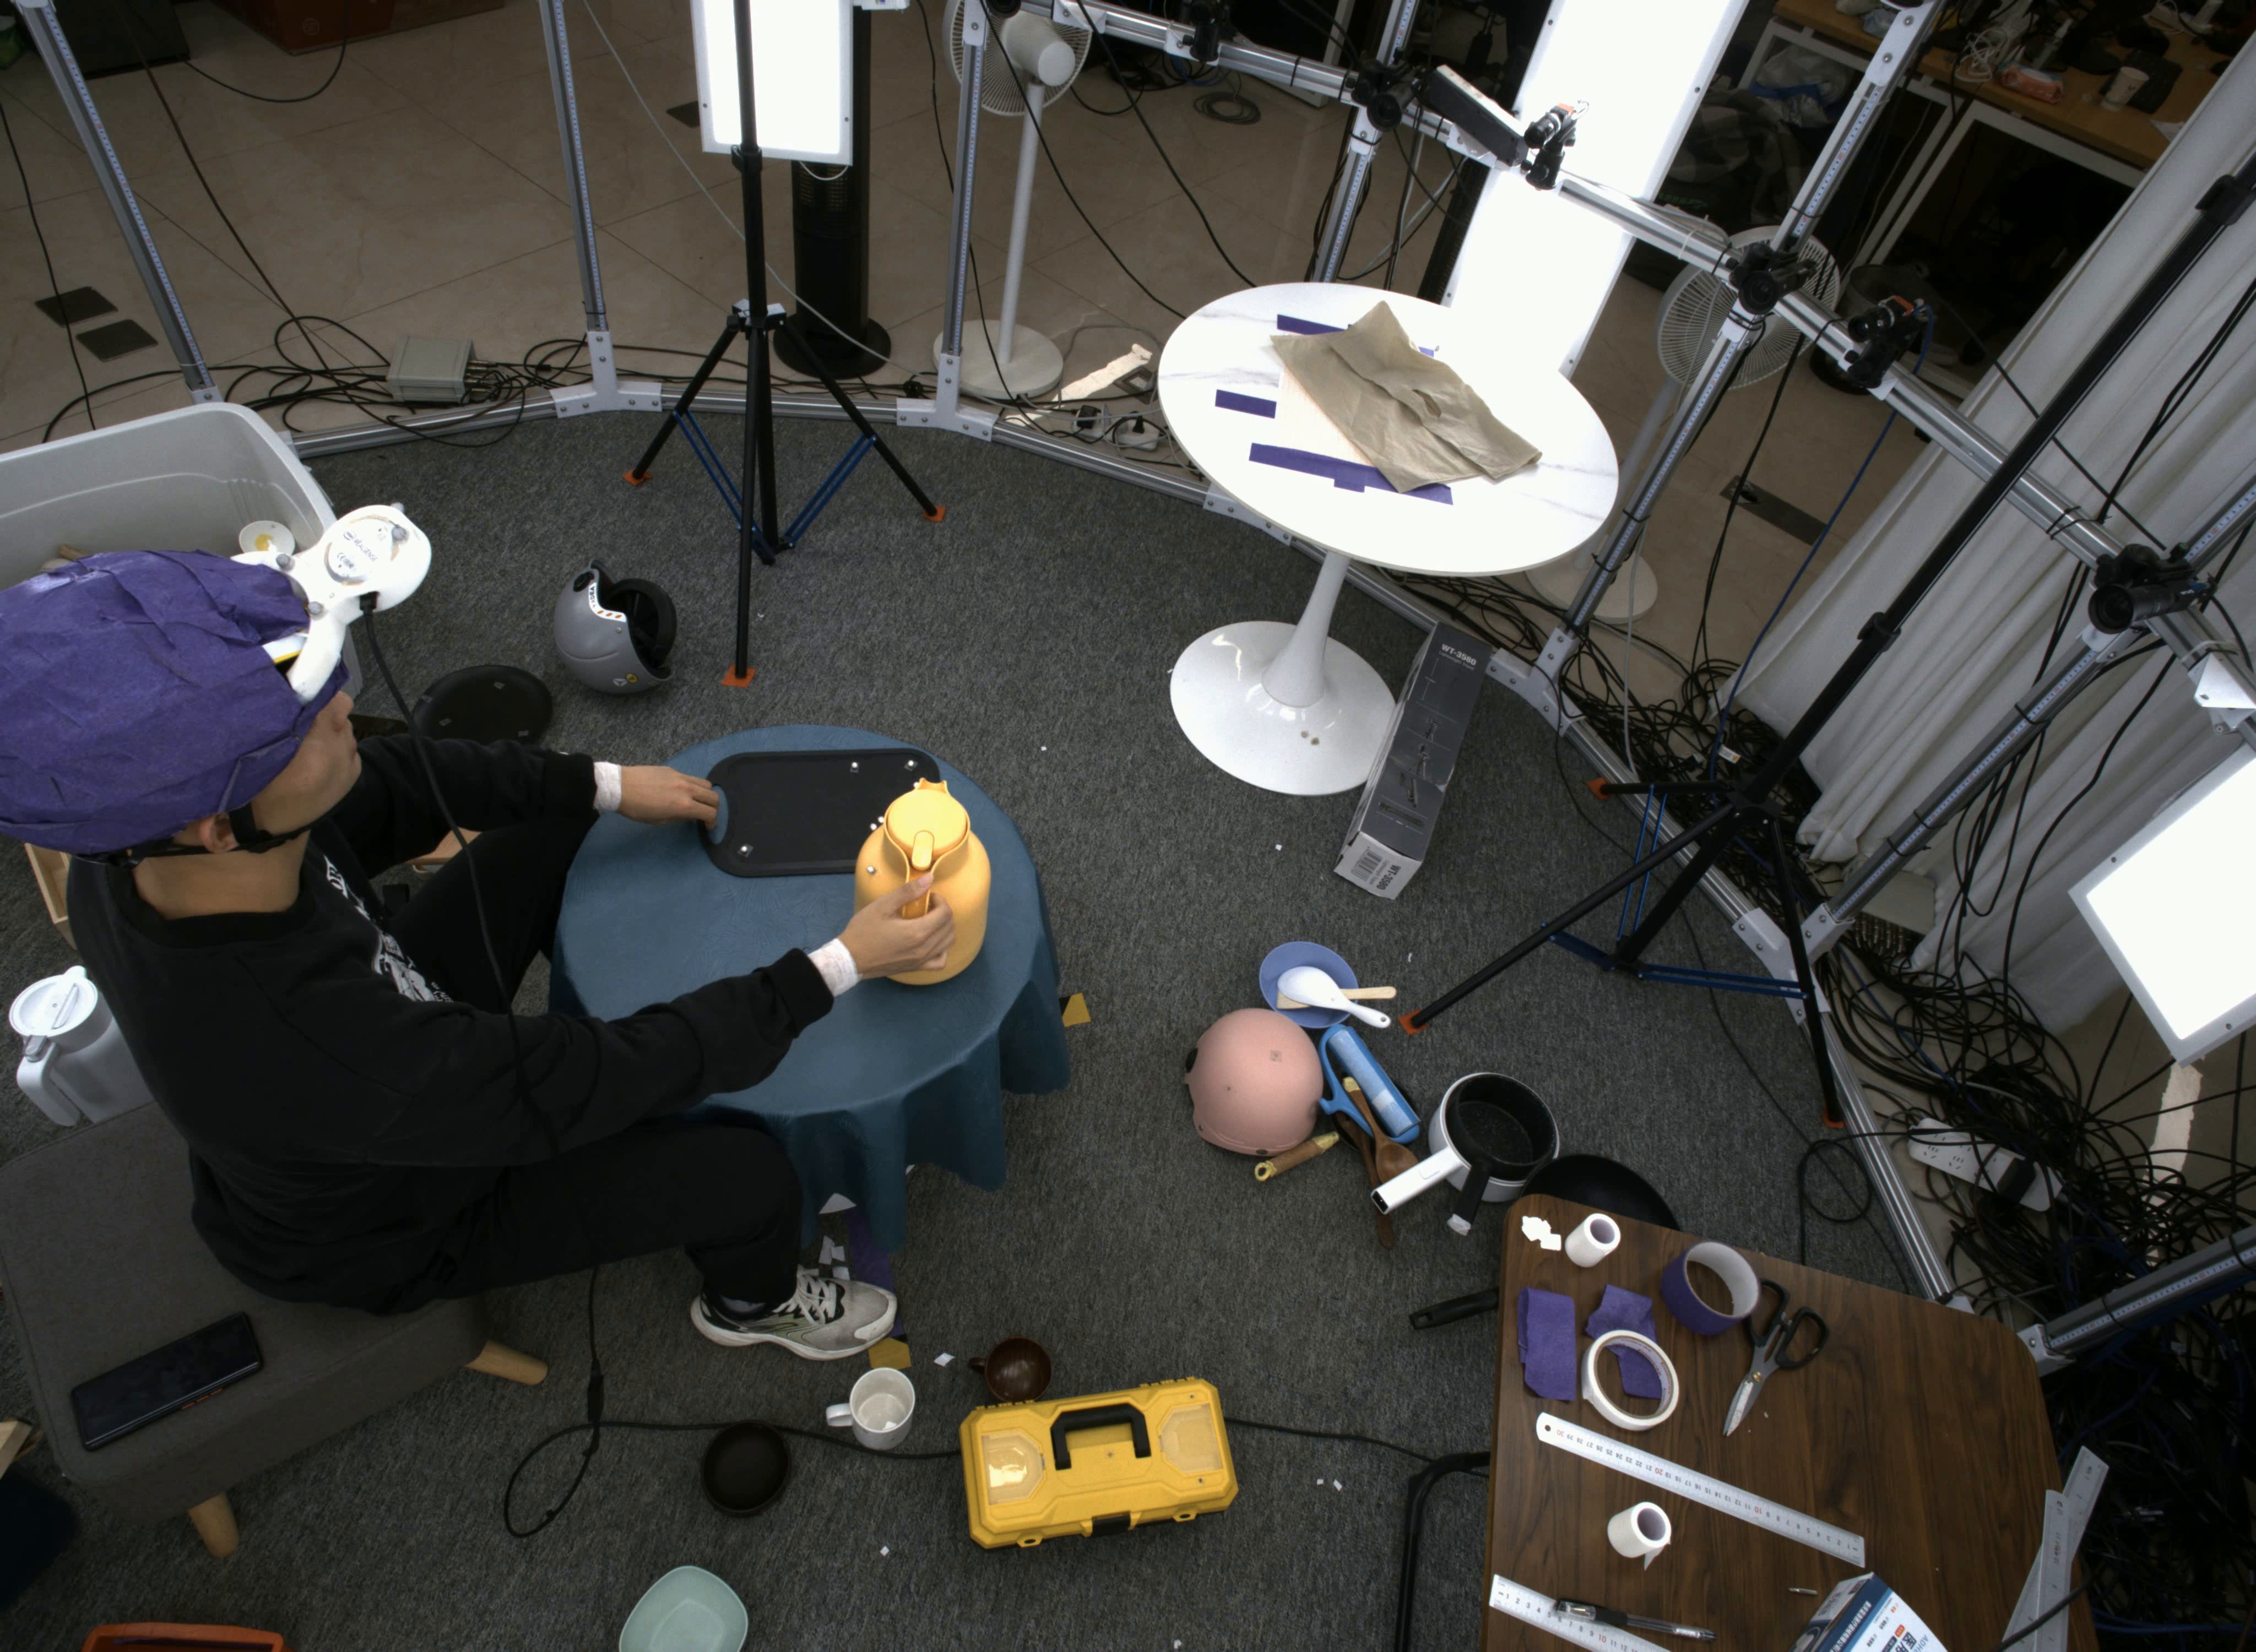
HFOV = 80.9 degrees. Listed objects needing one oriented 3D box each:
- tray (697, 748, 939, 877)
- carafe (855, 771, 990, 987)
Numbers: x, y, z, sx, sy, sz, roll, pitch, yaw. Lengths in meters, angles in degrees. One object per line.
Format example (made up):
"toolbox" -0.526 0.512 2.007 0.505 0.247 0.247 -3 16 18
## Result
"tray" -0.410 -0.023 1.738 0.326 0.010 0.206 -2 54 -16
"carafe" -0.248 0.077 1.539 0.162 0.267 0.199 7 50 -4
